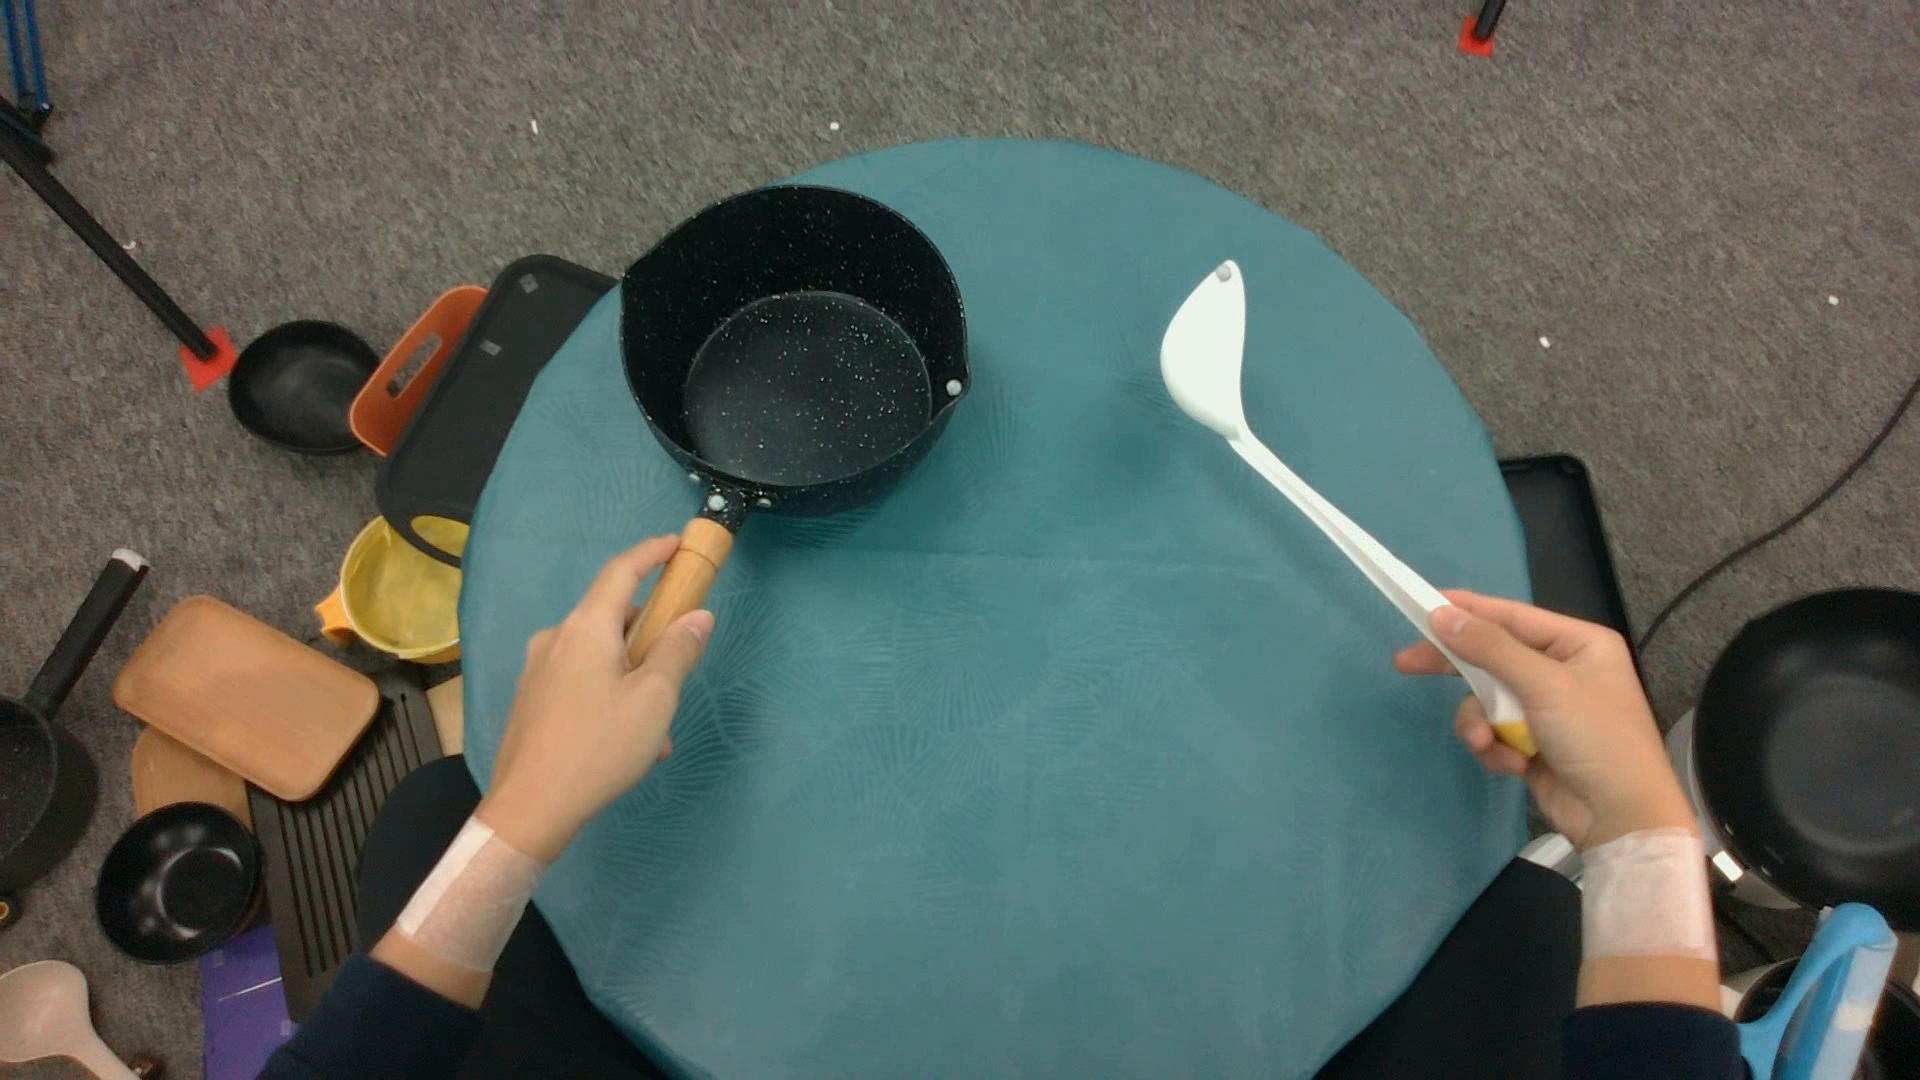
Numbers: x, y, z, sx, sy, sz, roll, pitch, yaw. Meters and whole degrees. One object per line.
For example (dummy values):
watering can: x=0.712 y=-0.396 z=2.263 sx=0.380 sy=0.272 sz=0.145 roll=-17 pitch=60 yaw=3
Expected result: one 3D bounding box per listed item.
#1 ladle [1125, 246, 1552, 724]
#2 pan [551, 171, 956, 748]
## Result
ladle: x=0.190 y=-0.033 z=0.707 sx=0.070 sy=0.090 sz=0.293 roll=-38 pitch=68 yaw=-14
pan: x=-0.123 y=-0.039 z=0.734 sx=0.207 sy=0.108 sz=0.344 roll=17 pitch=67 yaw=4
